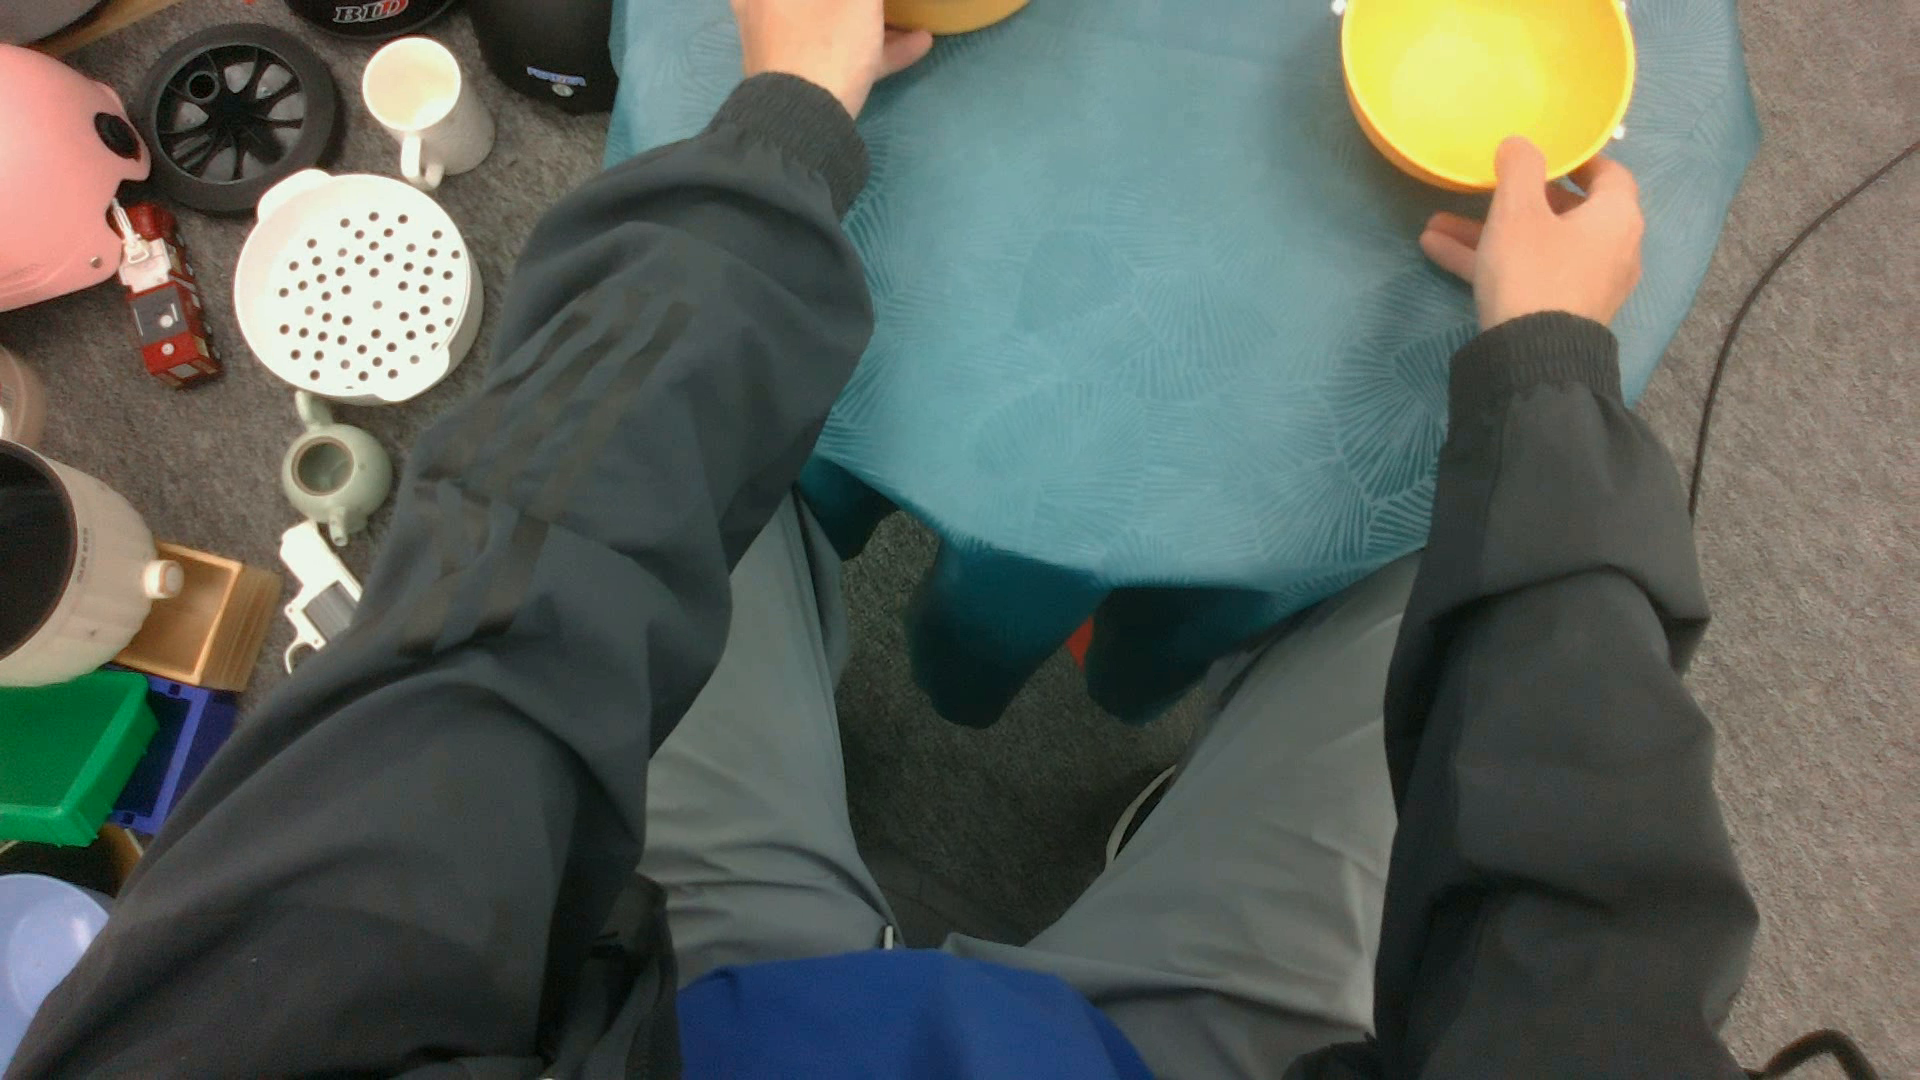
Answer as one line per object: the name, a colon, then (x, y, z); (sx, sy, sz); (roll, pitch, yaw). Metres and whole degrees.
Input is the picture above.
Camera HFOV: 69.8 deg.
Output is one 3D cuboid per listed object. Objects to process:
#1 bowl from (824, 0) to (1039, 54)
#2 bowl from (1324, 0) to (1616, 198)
bowl: (-0.030, -0.330, 0.722); (0.179, 0.074, 0.153); (-14, 85, -4)
bowl: (0.256, -0.236, 0.717); (0.145, 0.060, 0.145); (0, 79, 1)
